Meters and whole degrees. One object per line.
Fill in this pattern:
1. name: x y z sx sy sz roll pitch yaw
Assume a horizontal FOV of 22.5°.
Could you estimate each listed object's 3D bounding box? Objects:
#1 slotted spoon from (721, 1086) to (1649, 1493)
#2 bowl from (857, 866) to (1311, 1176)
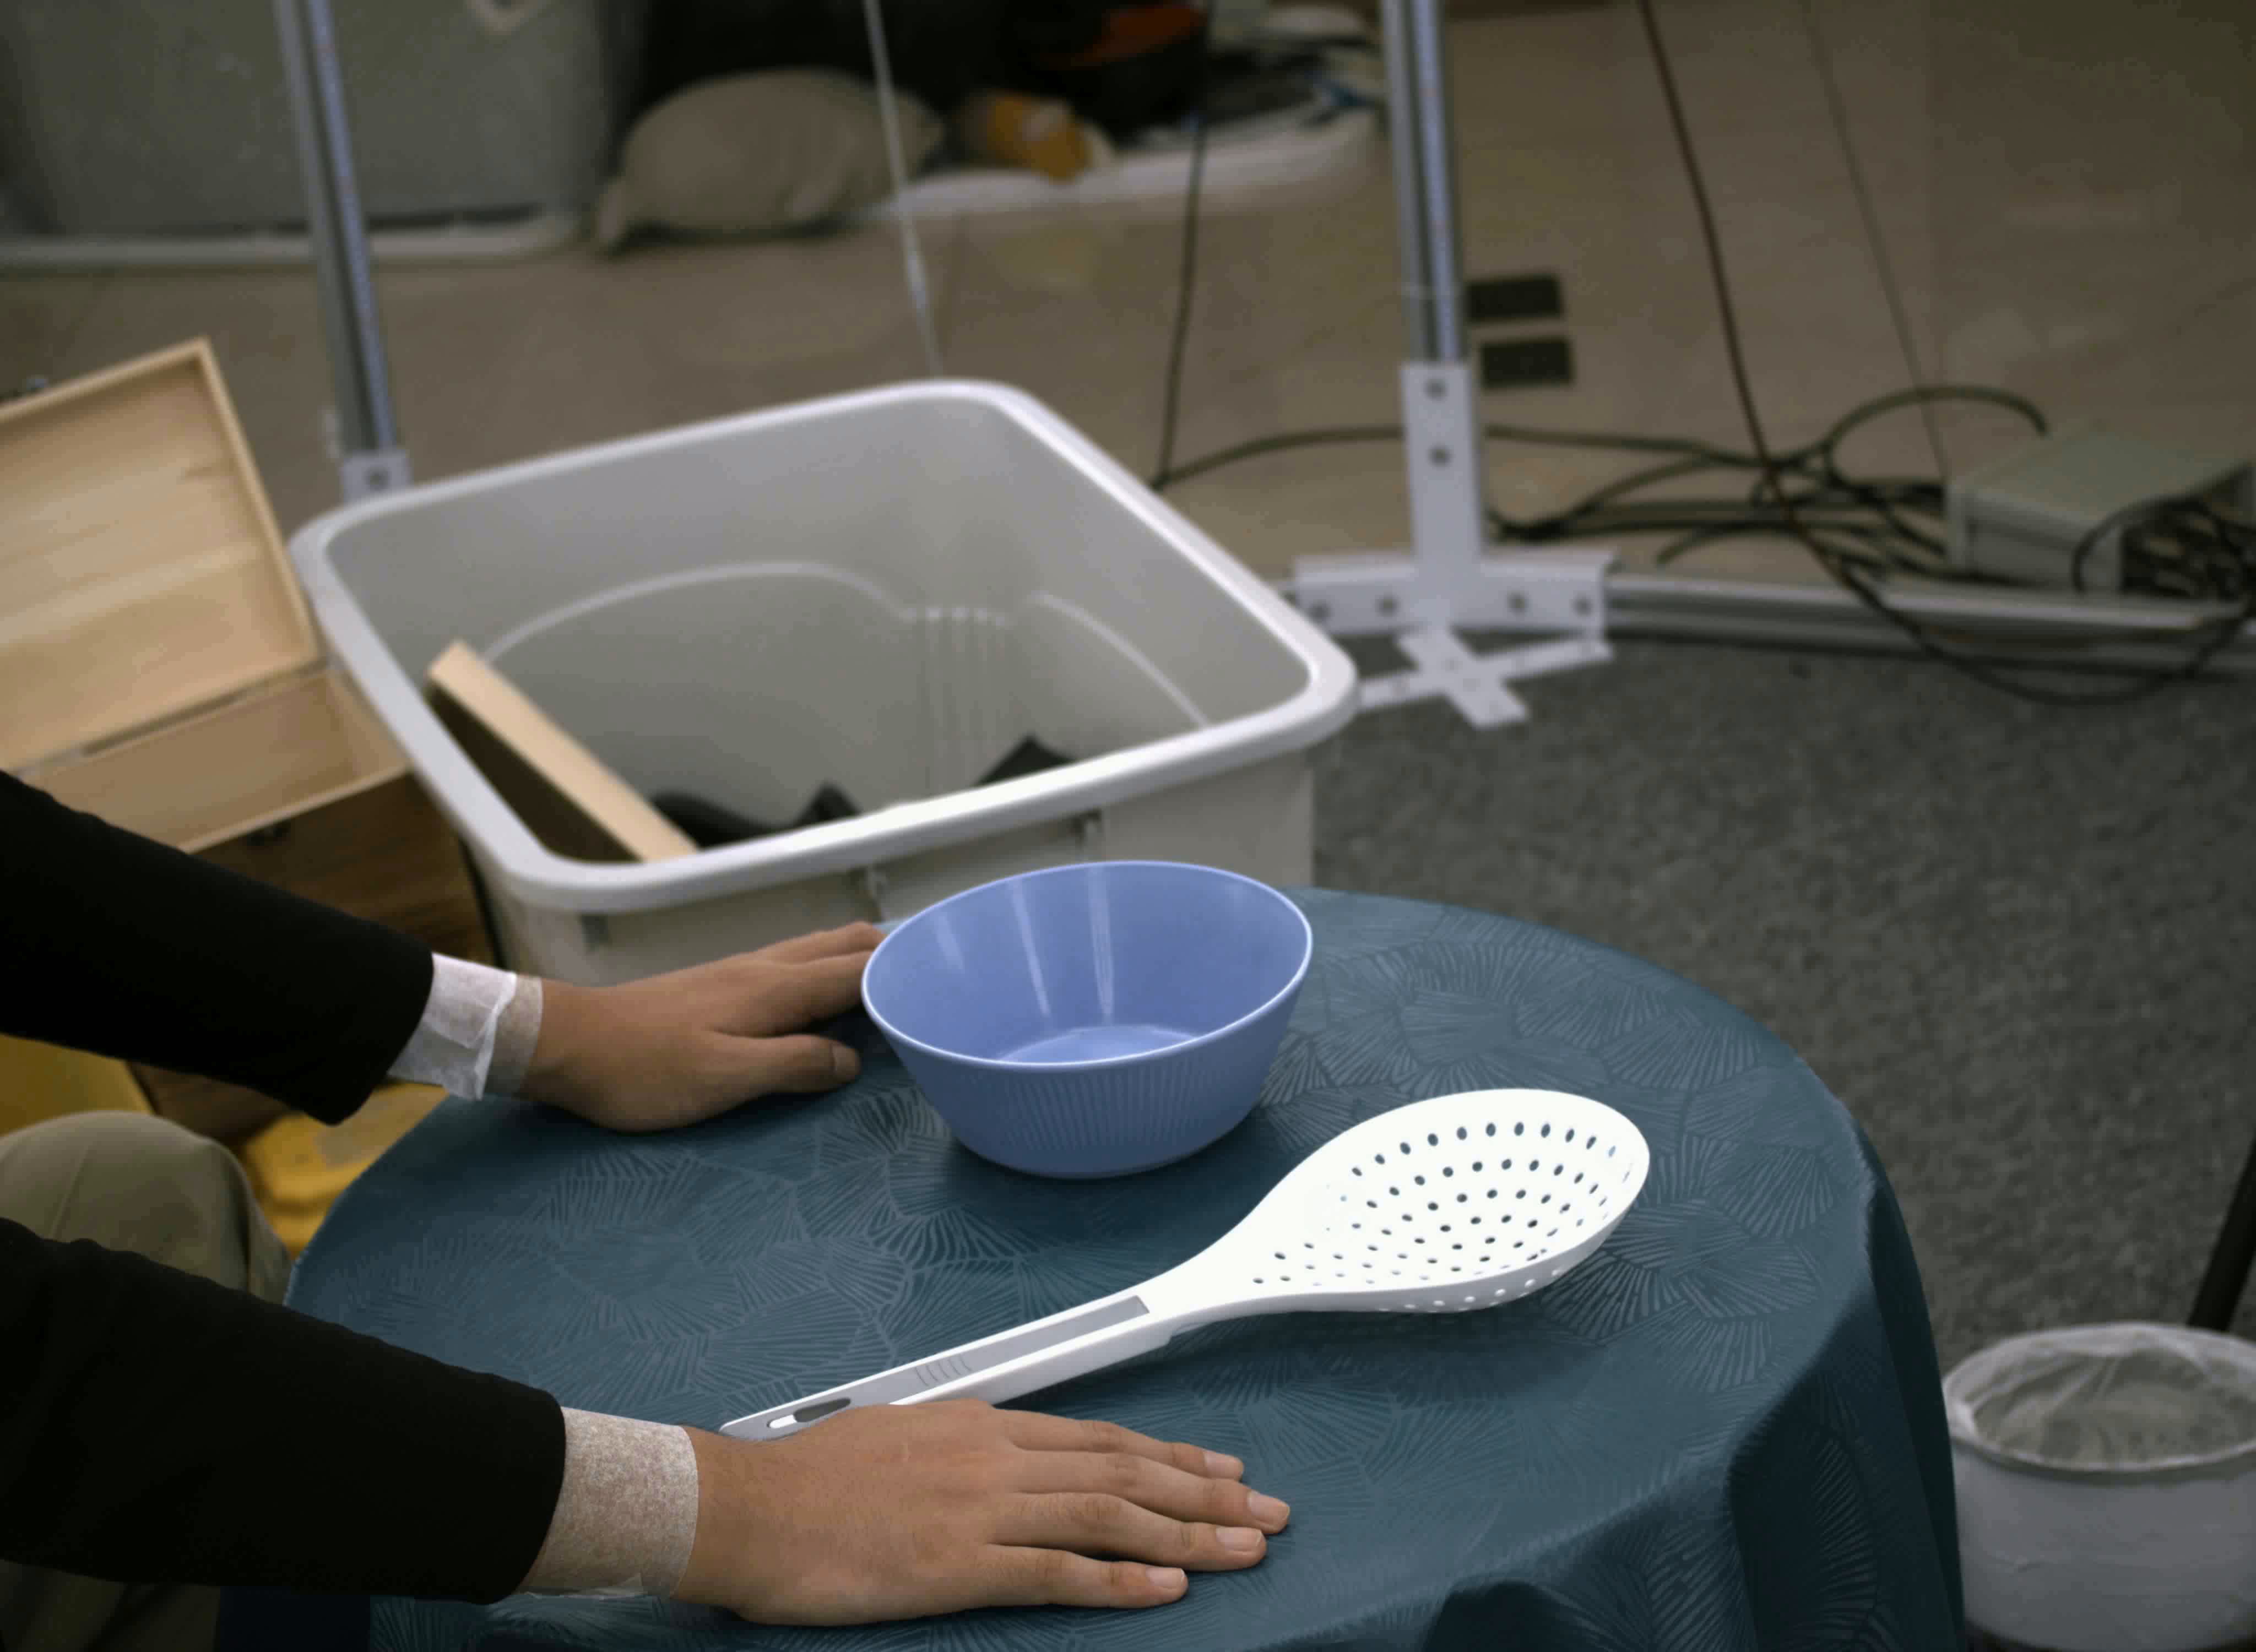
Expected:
1. slotted spoon: 0.022 0.169 2.023 0.348 0.046 0.134 -15 26 -14
2. bowl: -0.014 0.080 2.192 0.176 0.071 0.173 -6 25 3
